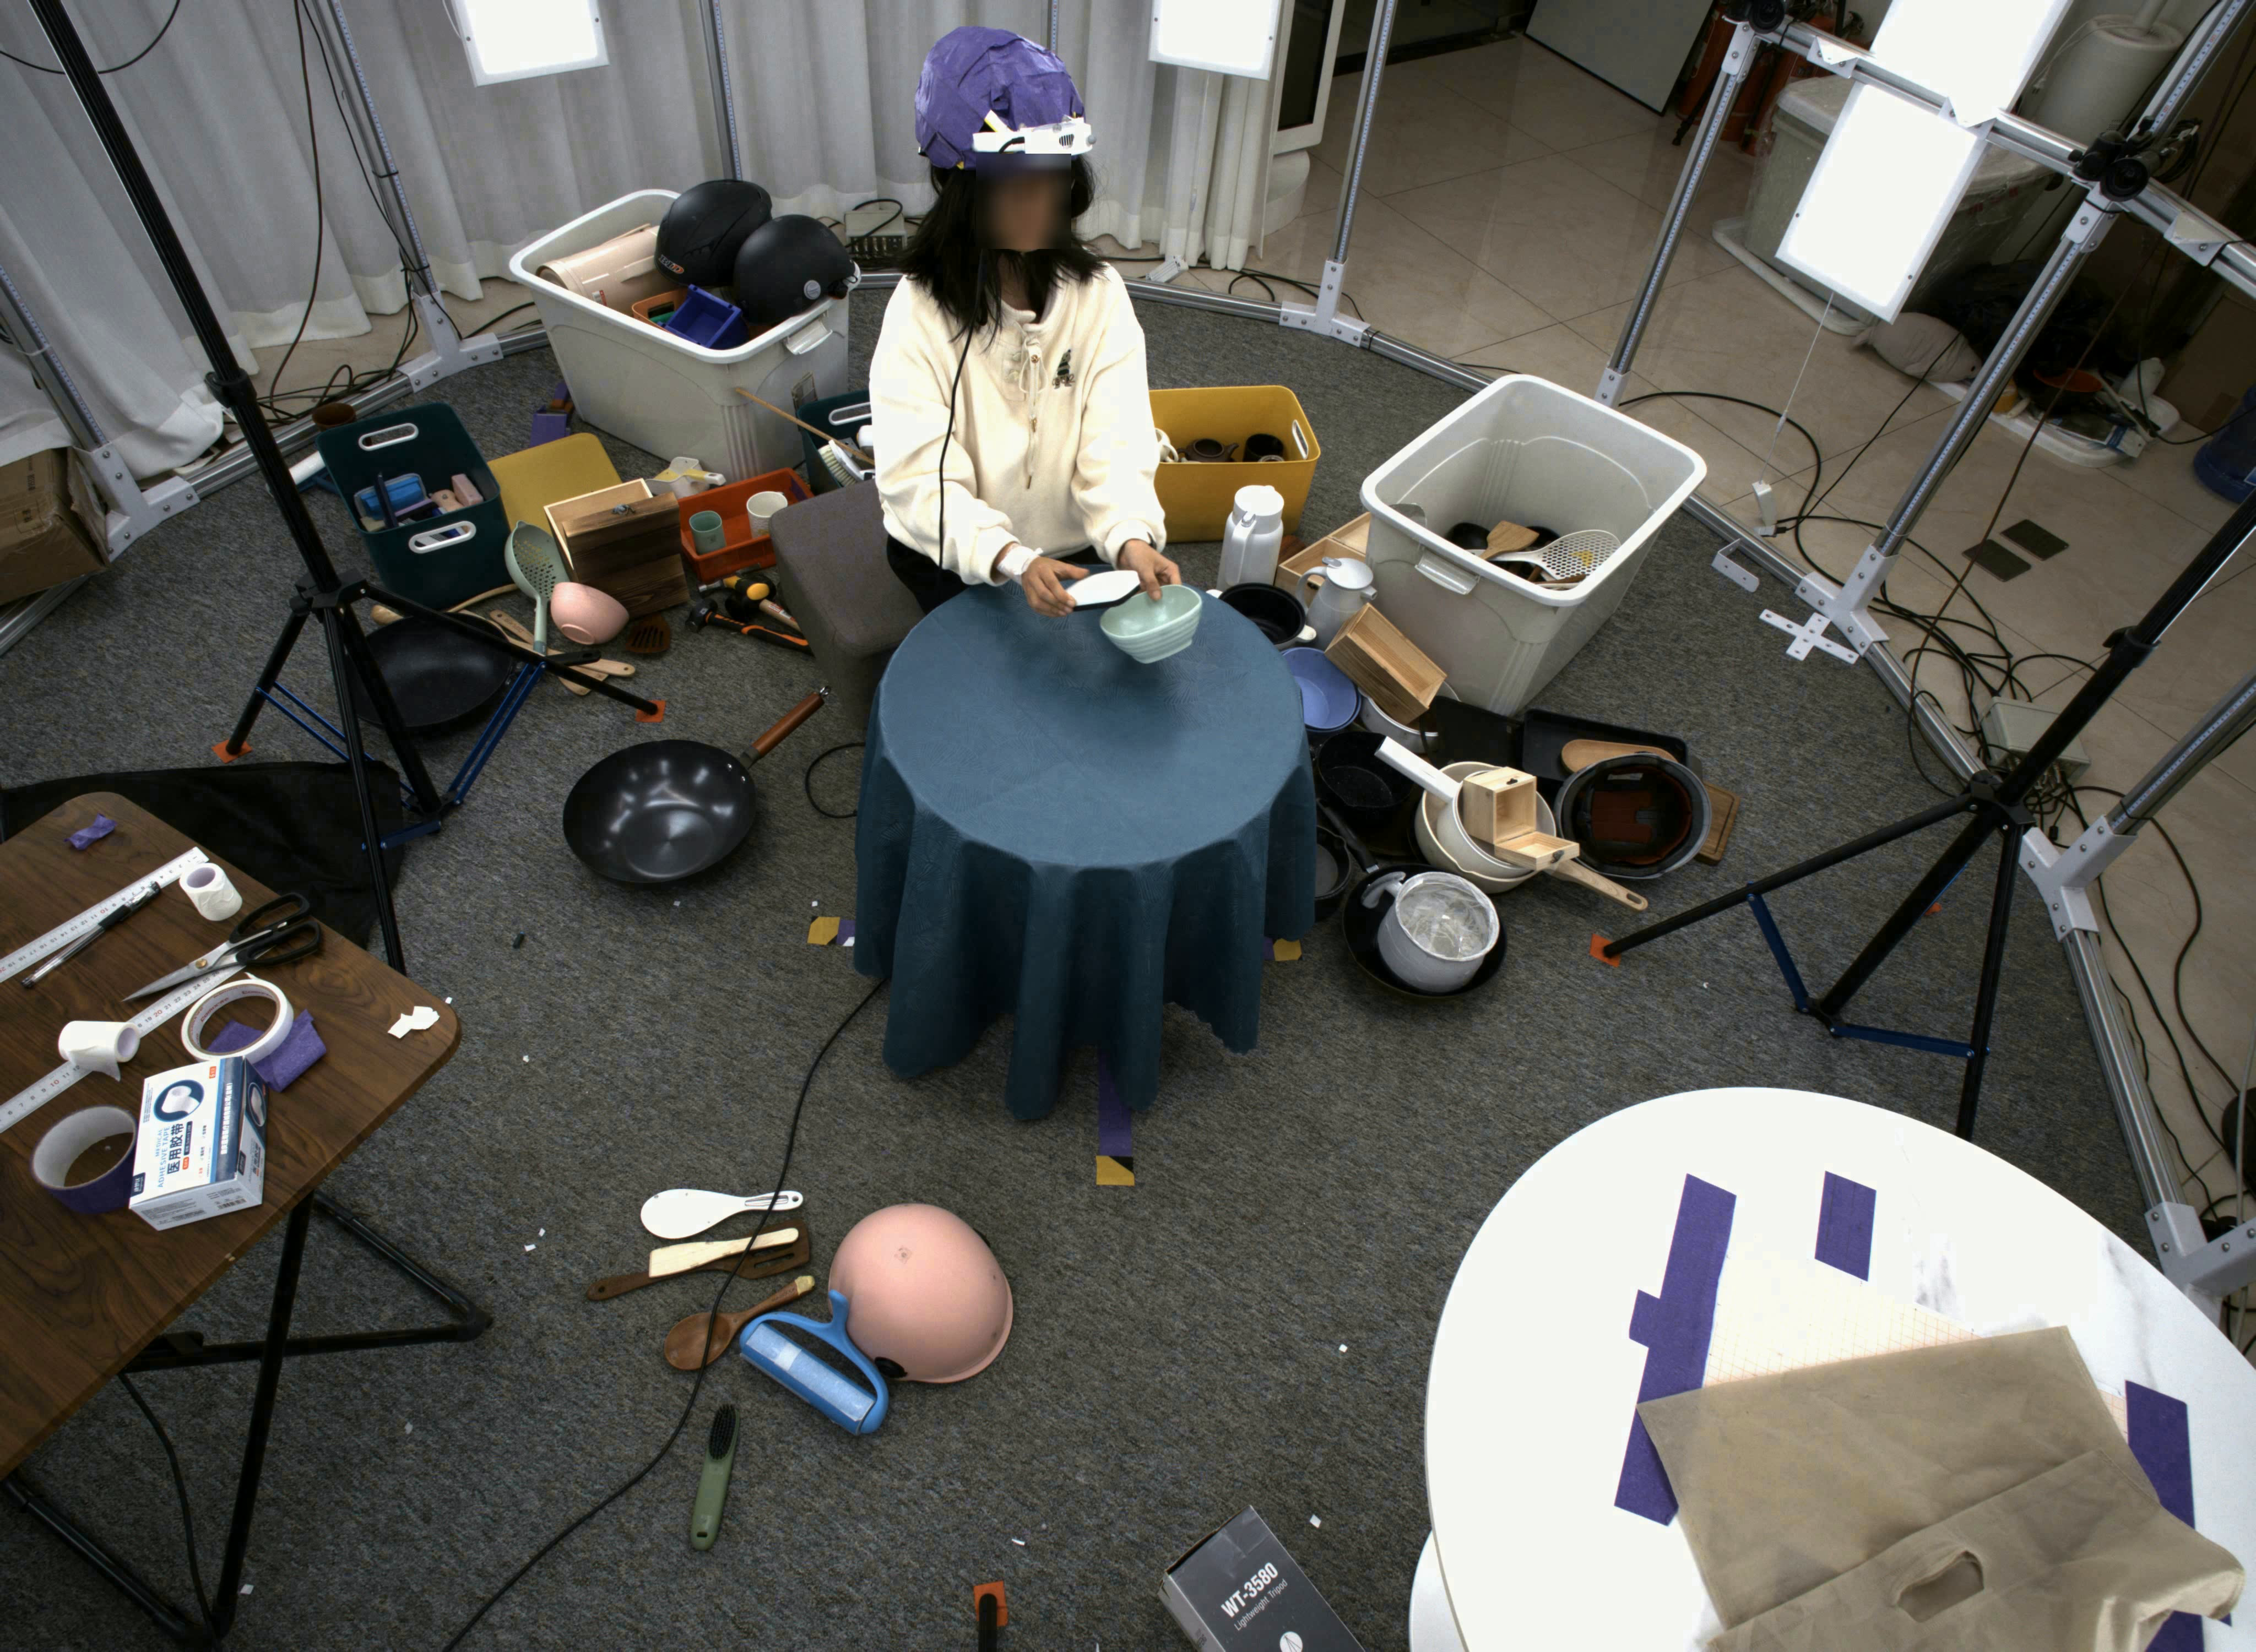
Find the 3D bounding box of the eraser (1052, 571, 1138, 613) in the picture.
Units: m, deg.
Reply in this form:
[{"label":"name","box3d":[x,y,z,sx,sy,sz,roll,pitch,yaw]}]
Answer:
[{"label":"eraser","box3d":[-0.045,-0.327,1.786,0.132,0.034,0.064,4,36,46]}]

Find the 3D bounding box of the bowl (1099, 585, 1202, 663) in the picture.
[{"label":"bowl","box3d":[0.037,-0.276,1.789,0.151,0.057,0.155,-12,32,7]}]
